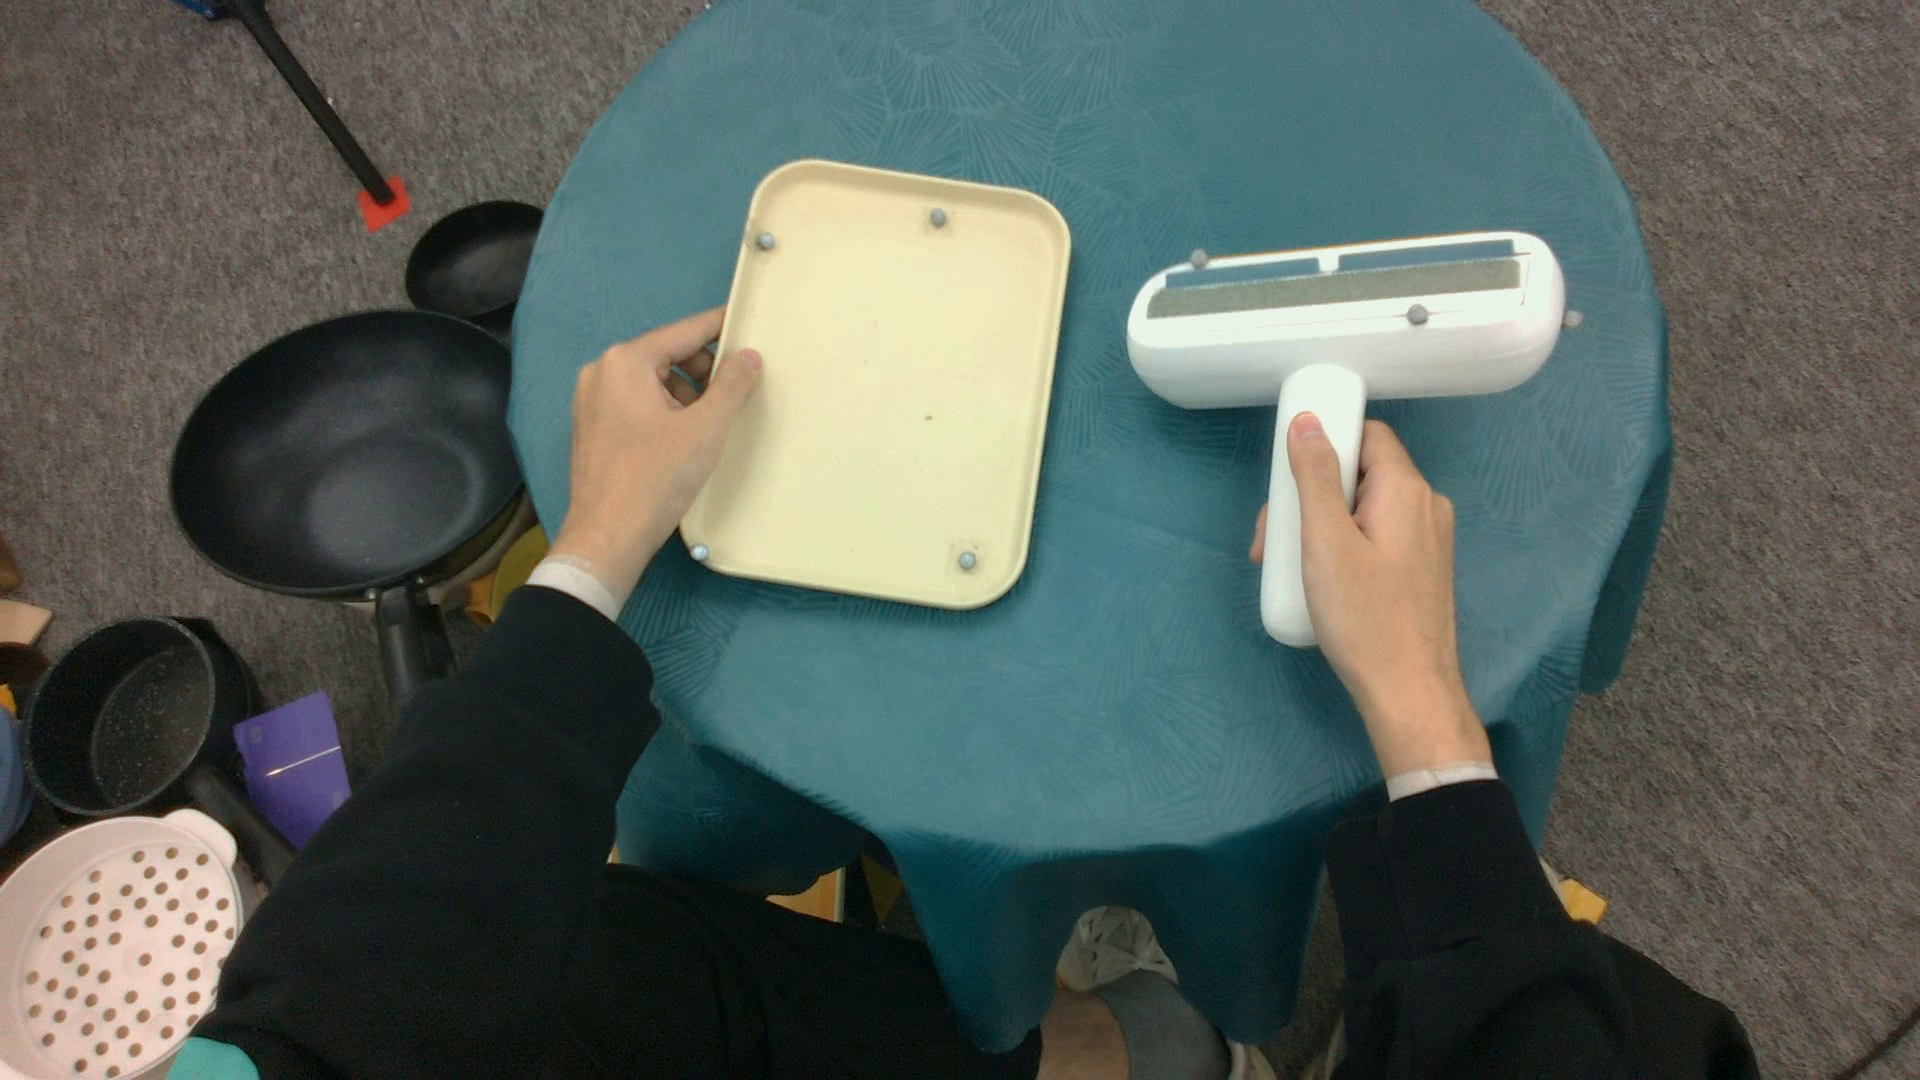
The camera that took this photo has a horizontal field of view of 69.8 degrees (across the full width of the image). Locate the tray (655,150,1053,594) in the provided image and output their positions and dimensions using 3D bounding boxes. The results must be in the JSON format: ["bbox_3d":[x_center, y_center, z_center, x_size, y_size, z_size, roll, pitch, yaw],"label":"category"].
[{"bbox_3d":[-0.049,-0.090,0.698,0.171,0.017,0.240,9,67,2],"label":"tray"}]

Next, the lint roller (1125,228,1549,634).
[{"bbox_3d":[0.155,-0.053,0.621,0.192,0.074,0.193,5,61,28],"label":"lint roller"}]
